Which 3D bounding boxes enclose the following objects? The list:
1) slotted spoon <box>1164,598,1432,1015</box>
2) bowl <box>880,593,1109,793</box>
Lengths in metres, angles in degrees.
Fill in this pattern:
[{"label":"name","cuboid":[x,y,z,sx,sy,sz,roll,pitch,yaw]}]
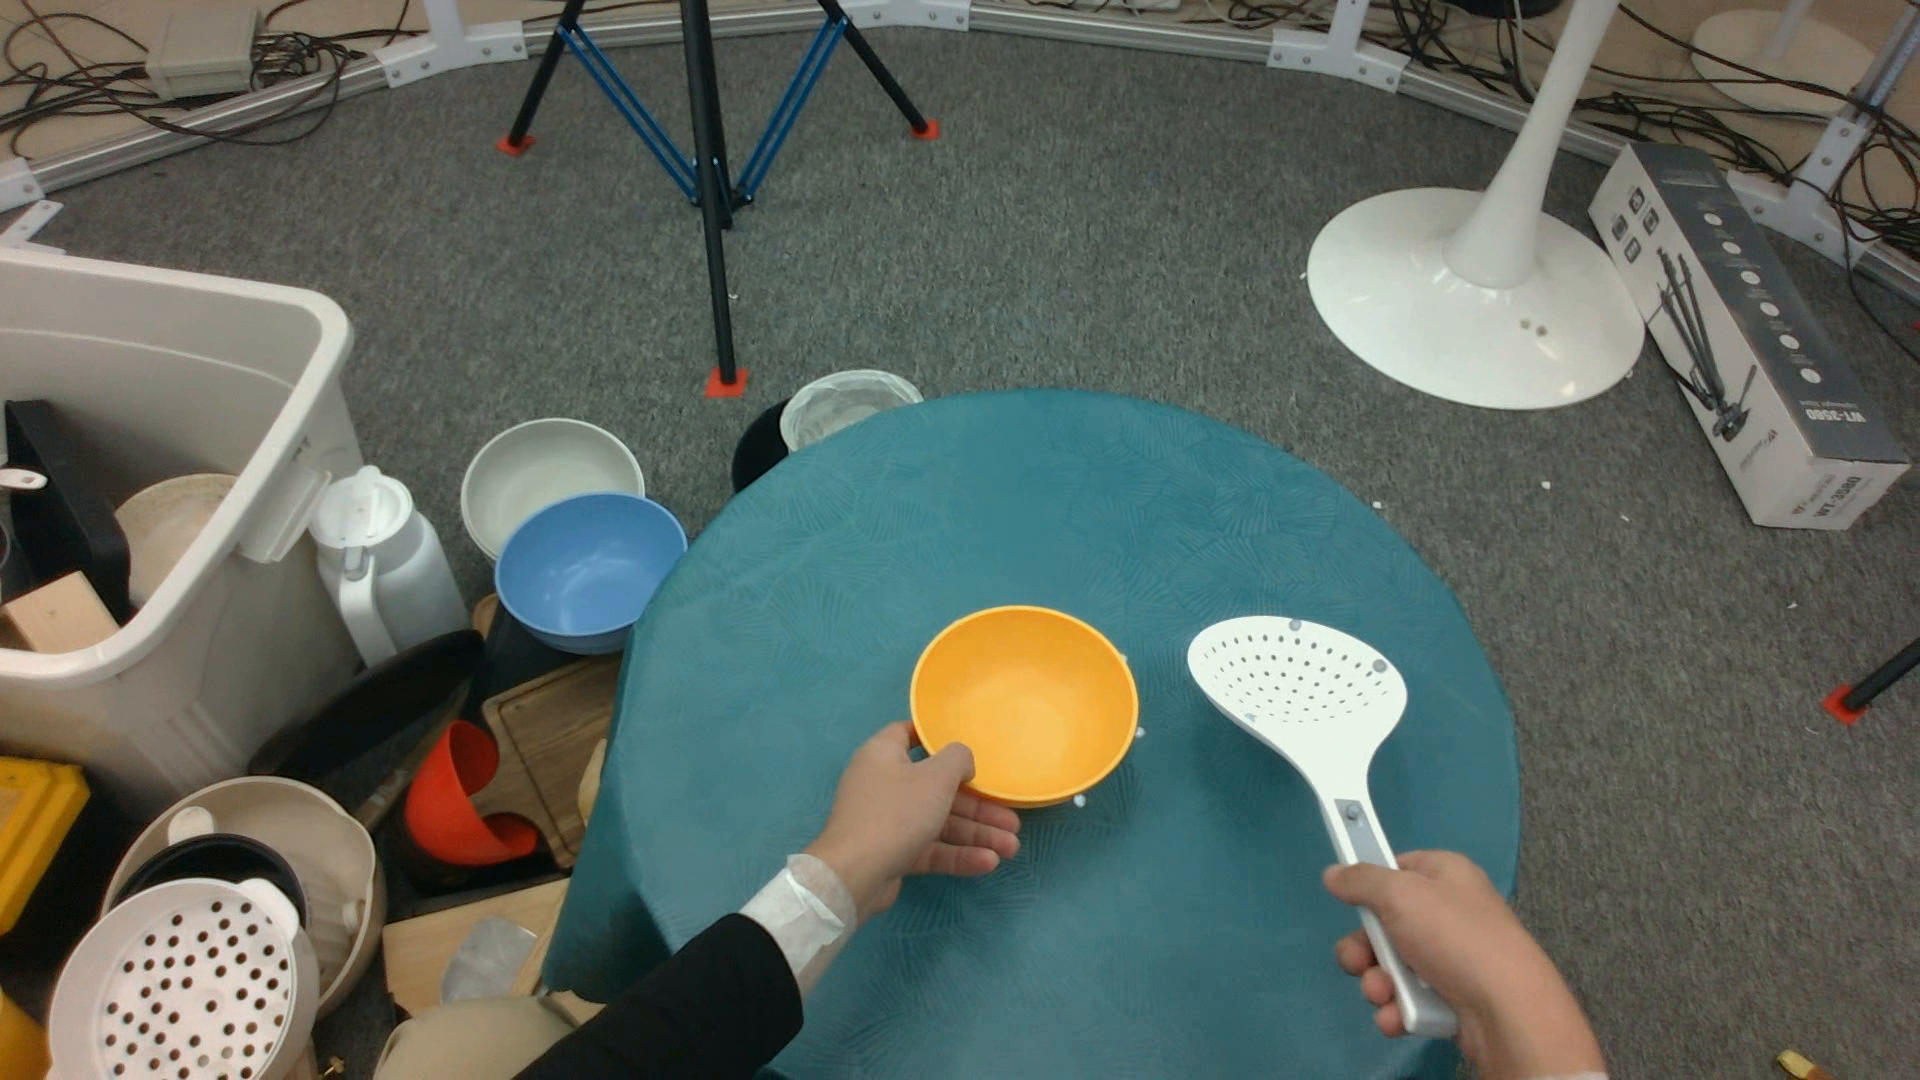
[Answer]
[{"label":"slotted spoon","cuboid":[0.200,0.131,0.785,0.136,0.045,0.351,4,24,-4]},{"label":"bowl","cuboid":[0.021,0.107,0.882,0.145,0.060,0.146,2,49,-2]}]
